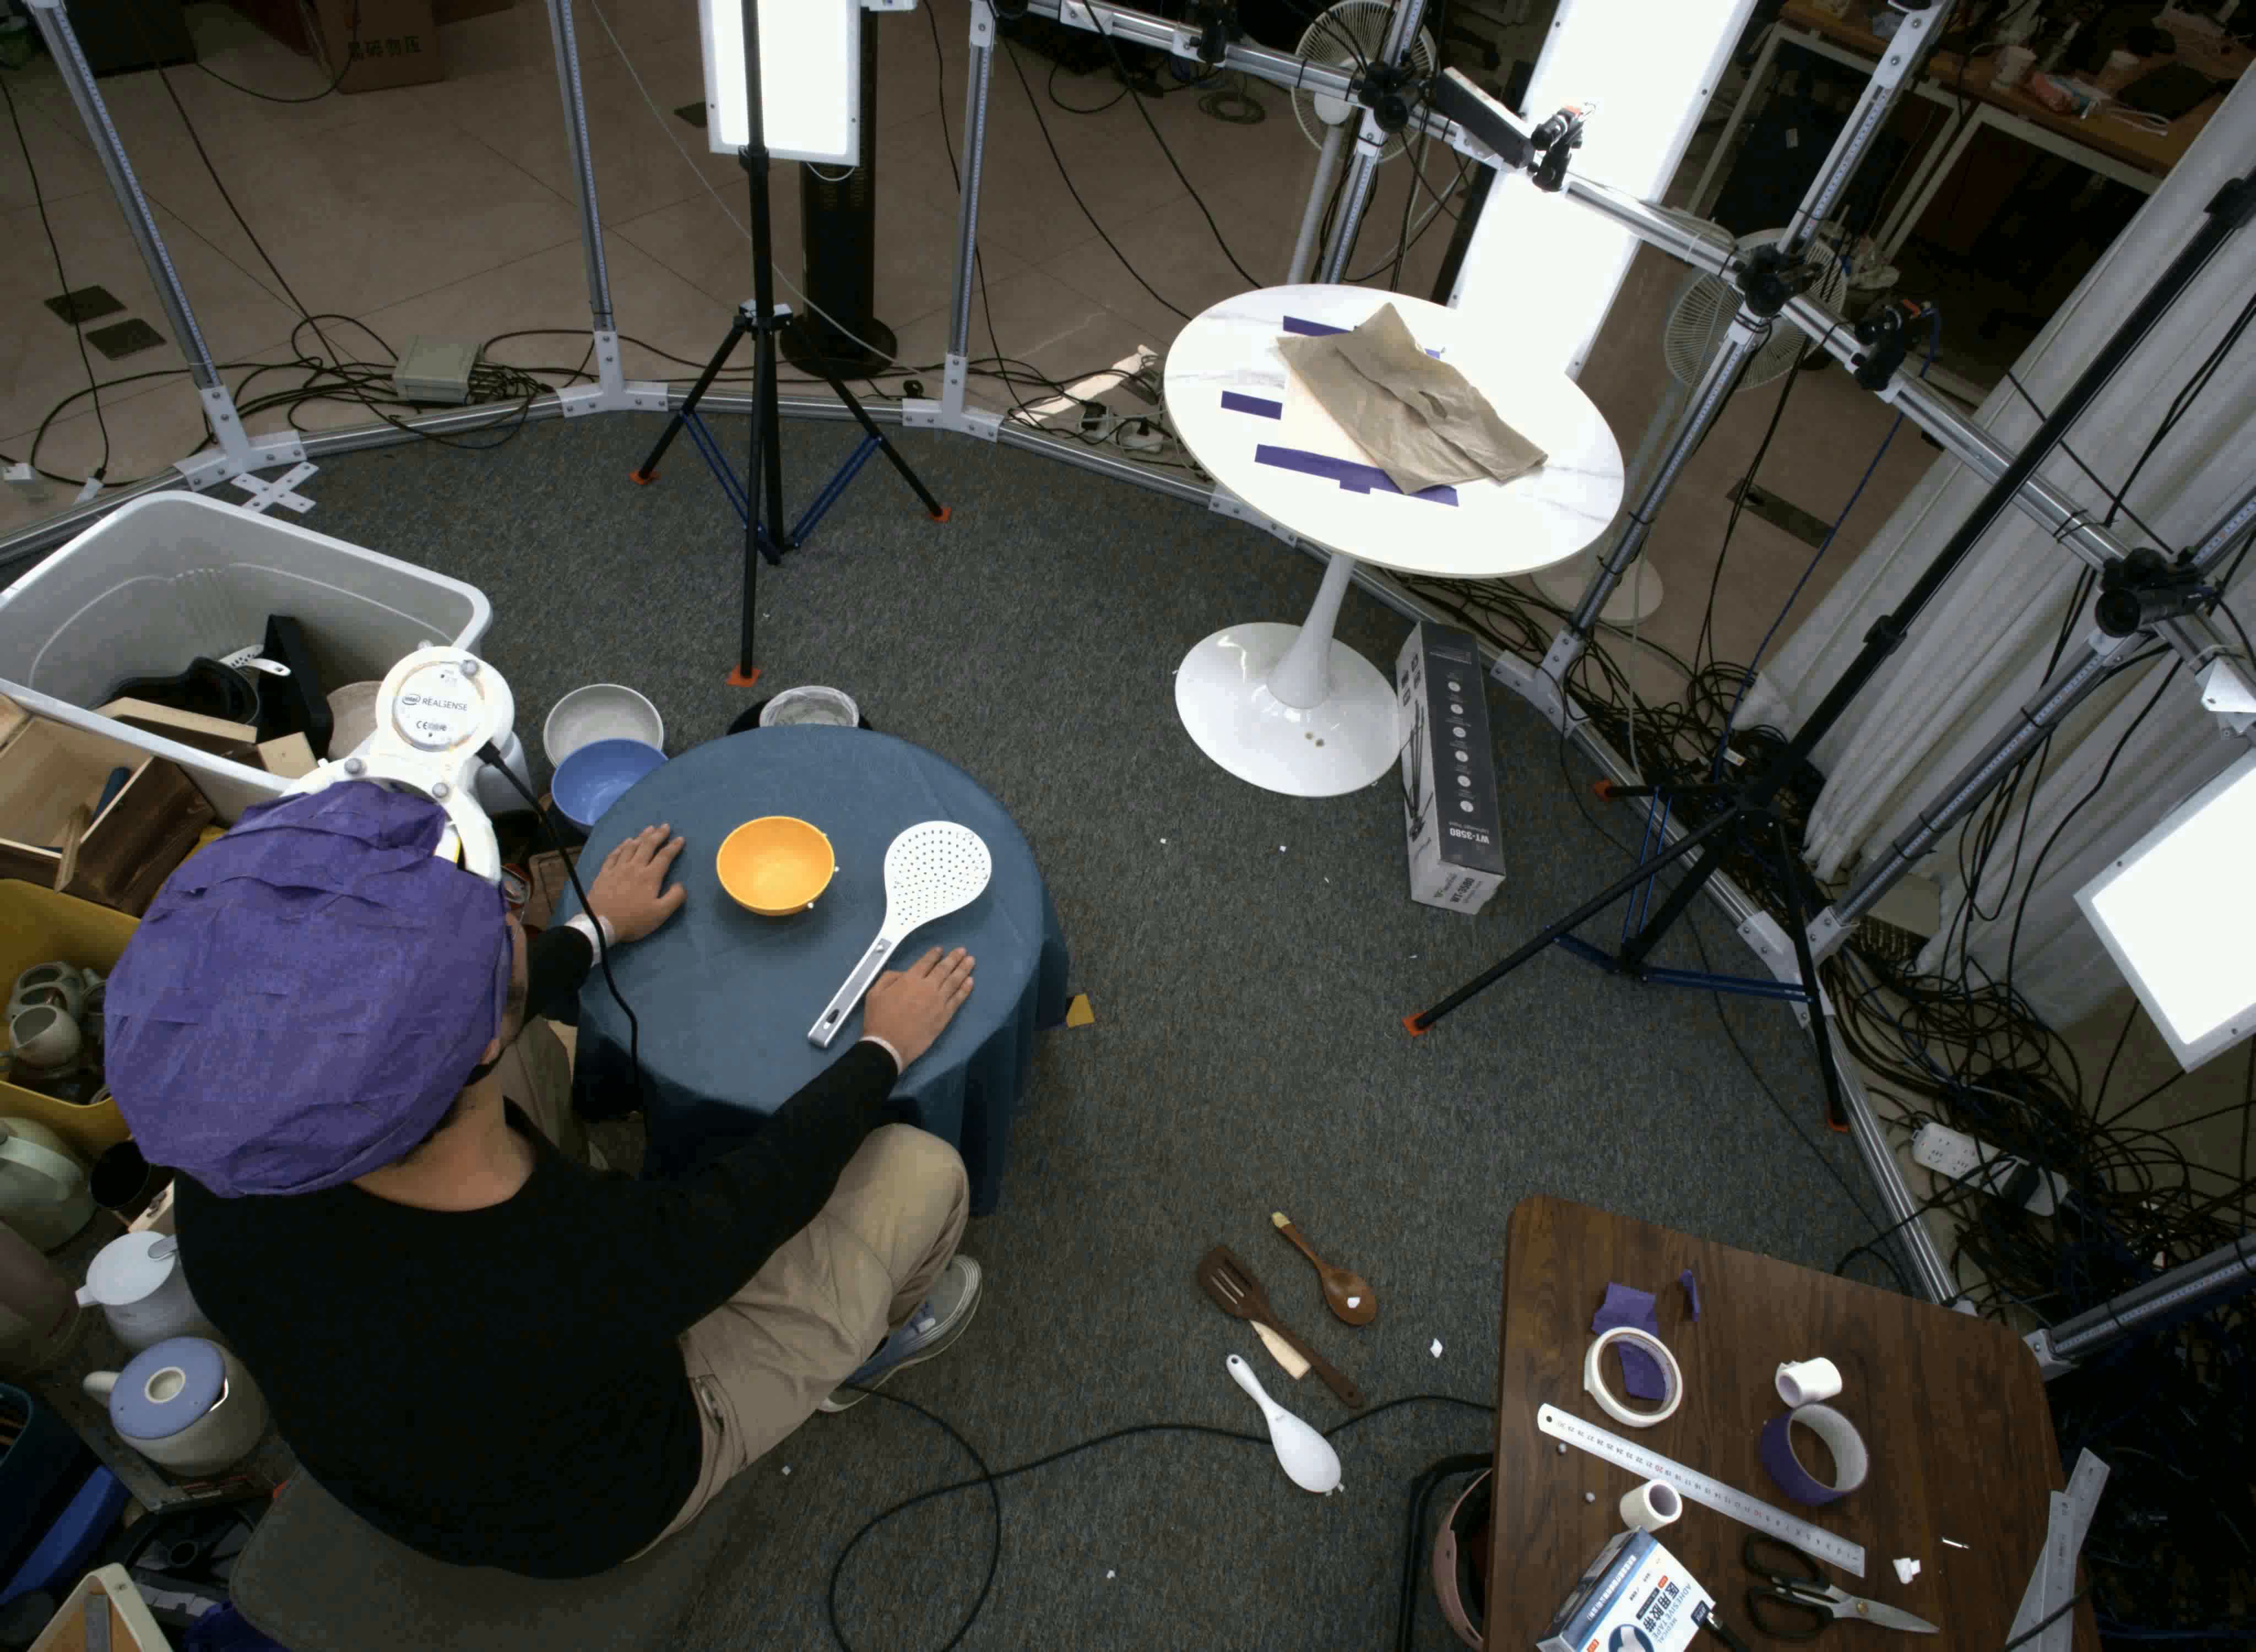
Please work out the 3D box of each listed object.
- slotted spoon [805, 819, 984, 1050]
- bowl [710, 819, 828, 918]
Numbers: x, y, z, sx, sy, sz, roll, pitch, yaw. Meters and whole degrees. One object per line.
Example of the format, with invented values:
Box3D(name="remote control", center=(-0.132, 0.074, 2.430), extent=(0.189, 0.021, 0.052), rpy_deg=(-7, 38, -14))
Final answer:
Box3D(name="slotted spoon", center=(-0.298, 0.130, 1.625), extent=(0.134, 0.046, 0.347), rpy_deg=(26, 53, 6))
Box3D(name="bowl", center=(-0.449, 0.063, 1.629), extent=(0.145, 0.061, 0.142), rpy_deg=(7, 51, -7))
